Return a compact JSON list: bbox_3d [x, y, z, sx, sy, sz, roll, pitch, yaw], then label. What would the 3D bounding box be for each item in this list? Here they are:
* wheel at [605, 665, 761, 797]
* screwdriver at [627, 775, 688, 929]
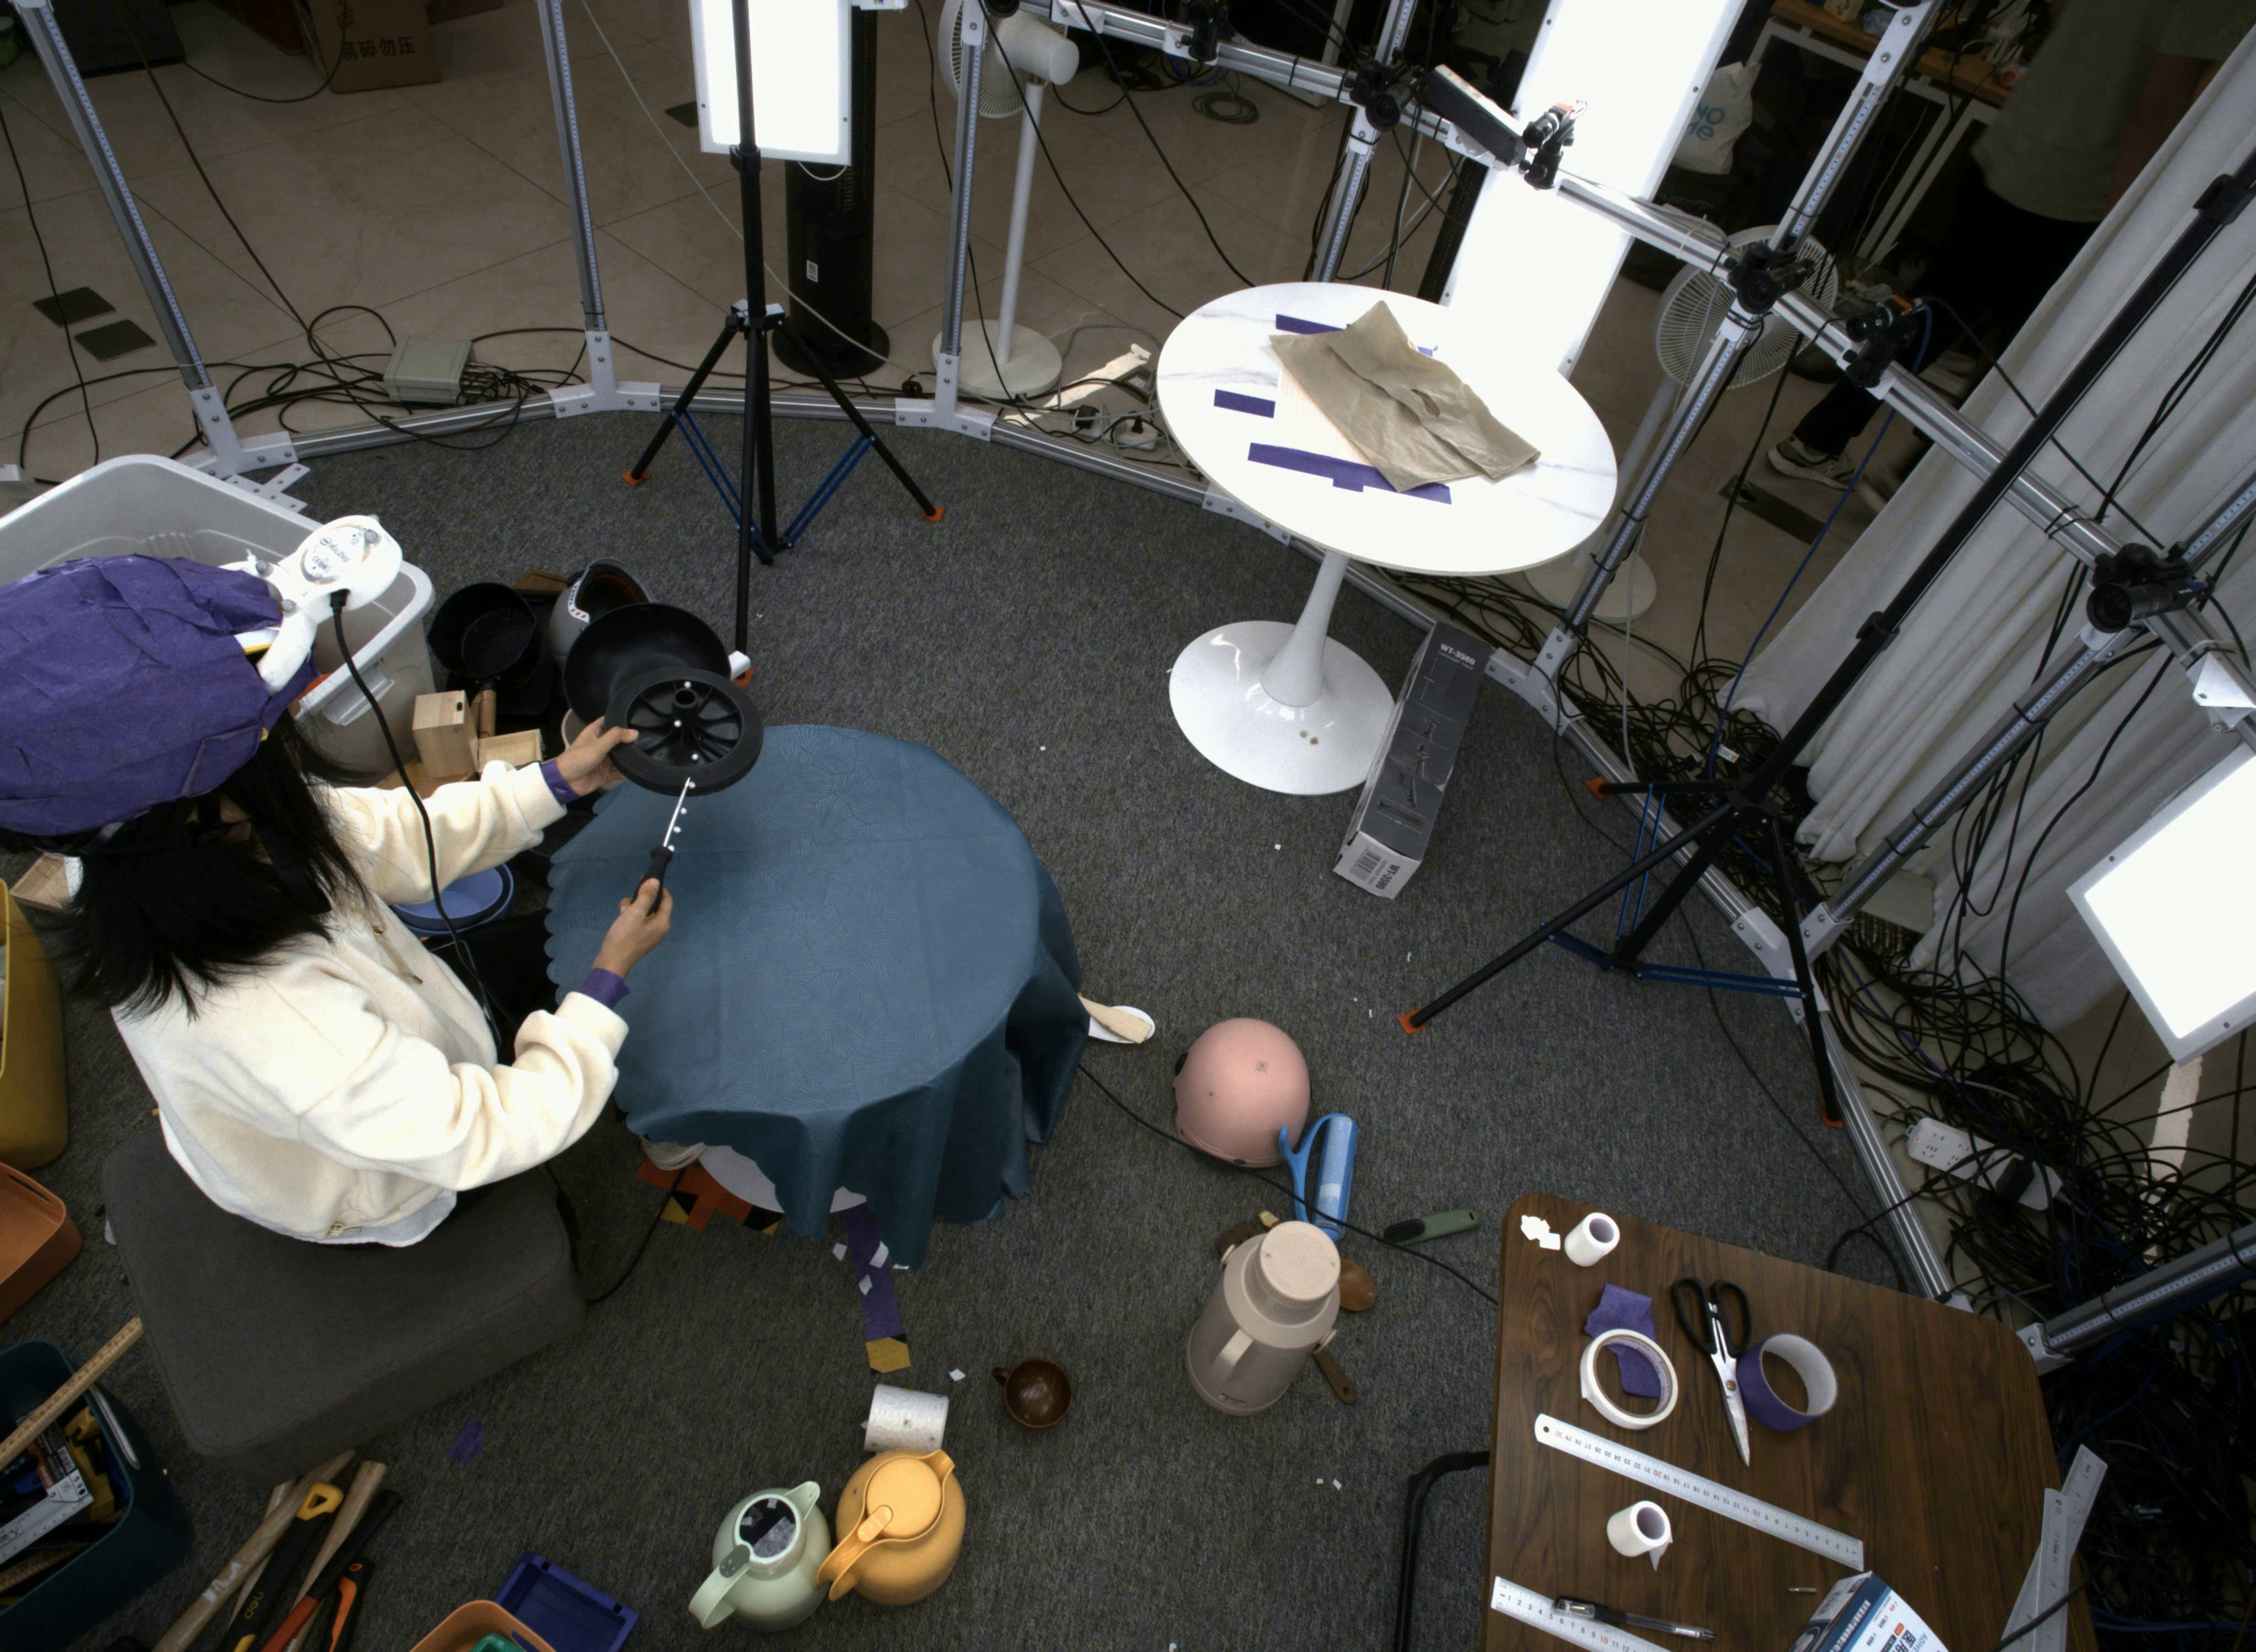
[{"bbox_3d":[-0.535,-0.130,1.542,0.191,0.080,0.184,15,52,-14],"label":"wheel"},{"bbox_3d":[-0.530,0.026,1.456,0.031,0.032,0.195,11,57,-5],"label":"screwdriver"}]
